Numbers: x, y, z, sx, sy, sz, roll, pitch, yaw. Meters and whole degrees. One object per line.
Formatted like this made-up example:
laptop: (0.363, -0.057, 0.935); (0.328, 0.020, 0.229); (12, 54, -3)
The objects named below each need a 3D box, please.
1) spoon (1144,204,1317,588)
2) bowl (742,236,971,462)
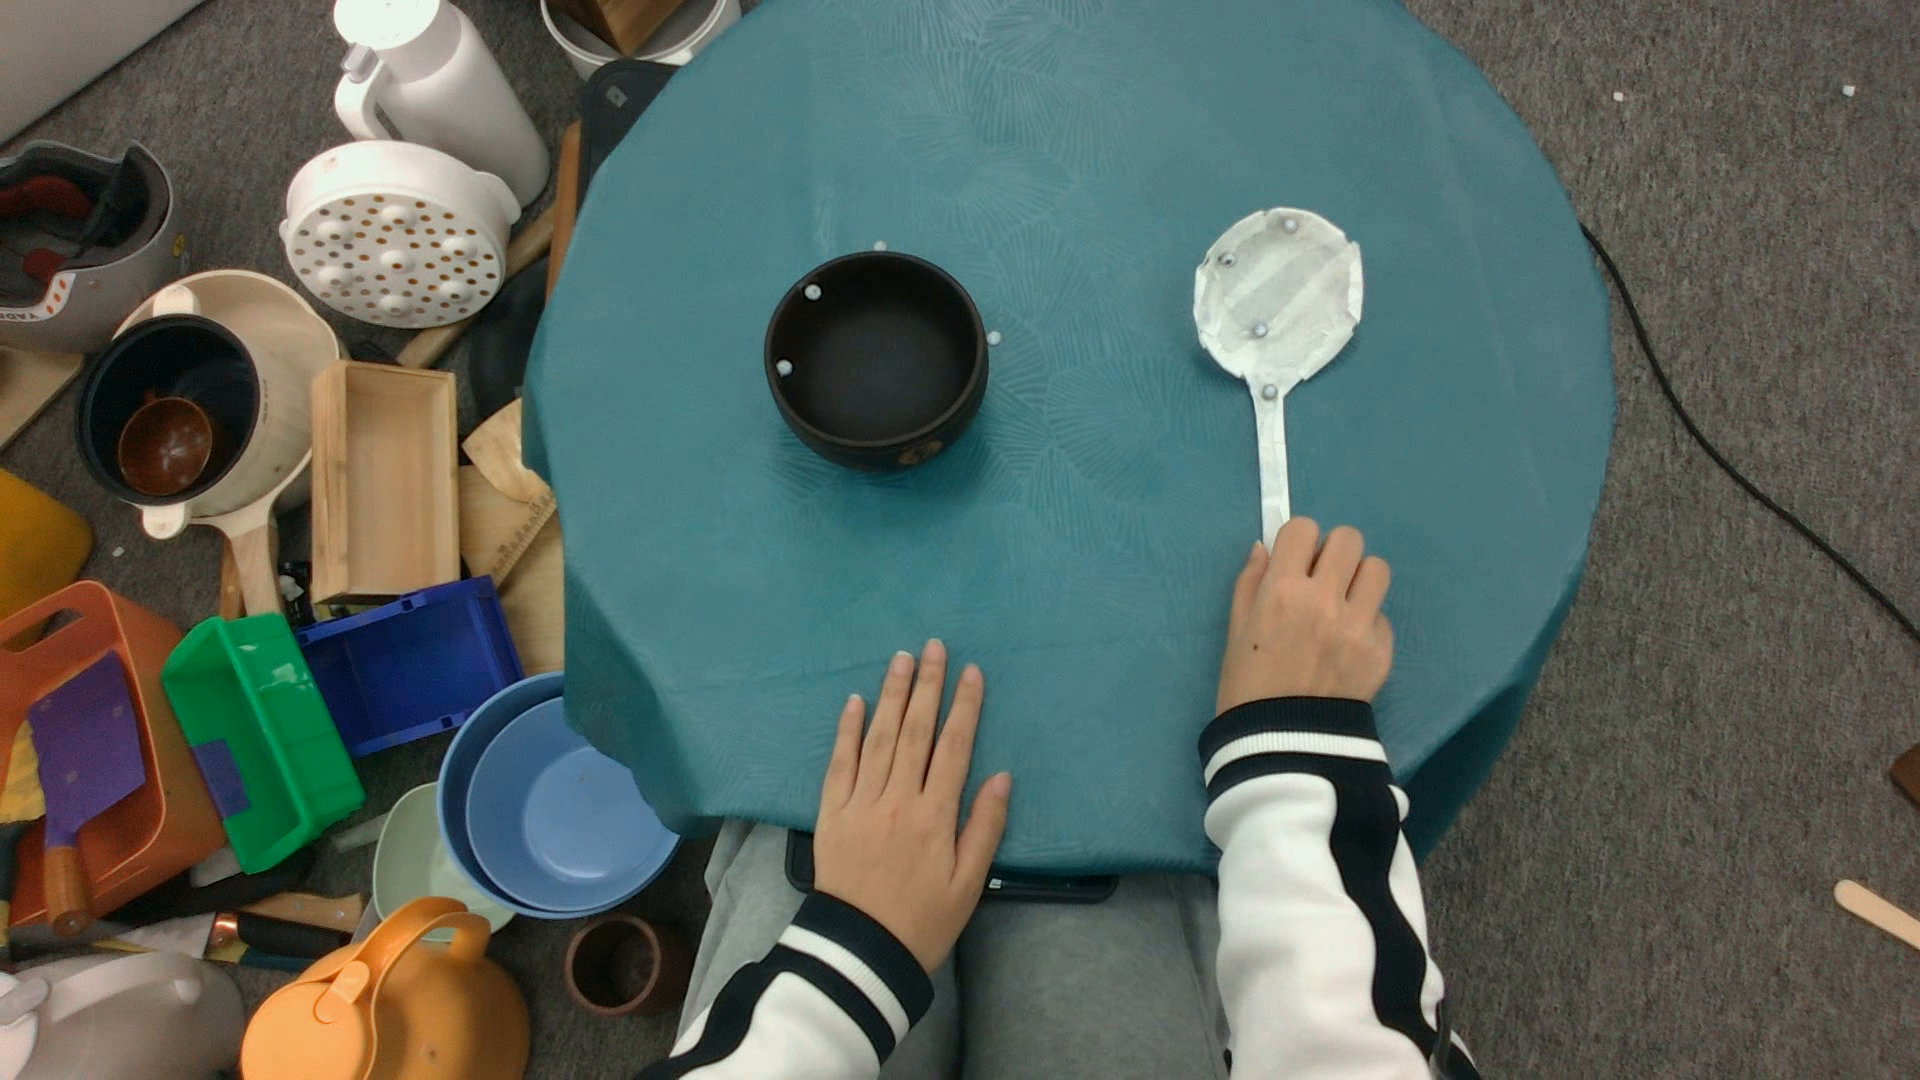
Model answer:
spoon: (0.181, -0.075, 0.819); (0.100, 0.276, 0.059); (-23, 47, 4)
bowl: (-0.052, -0.095, 0.735); (0.118, 0.069, 0.118); (-1, 71, 3)
